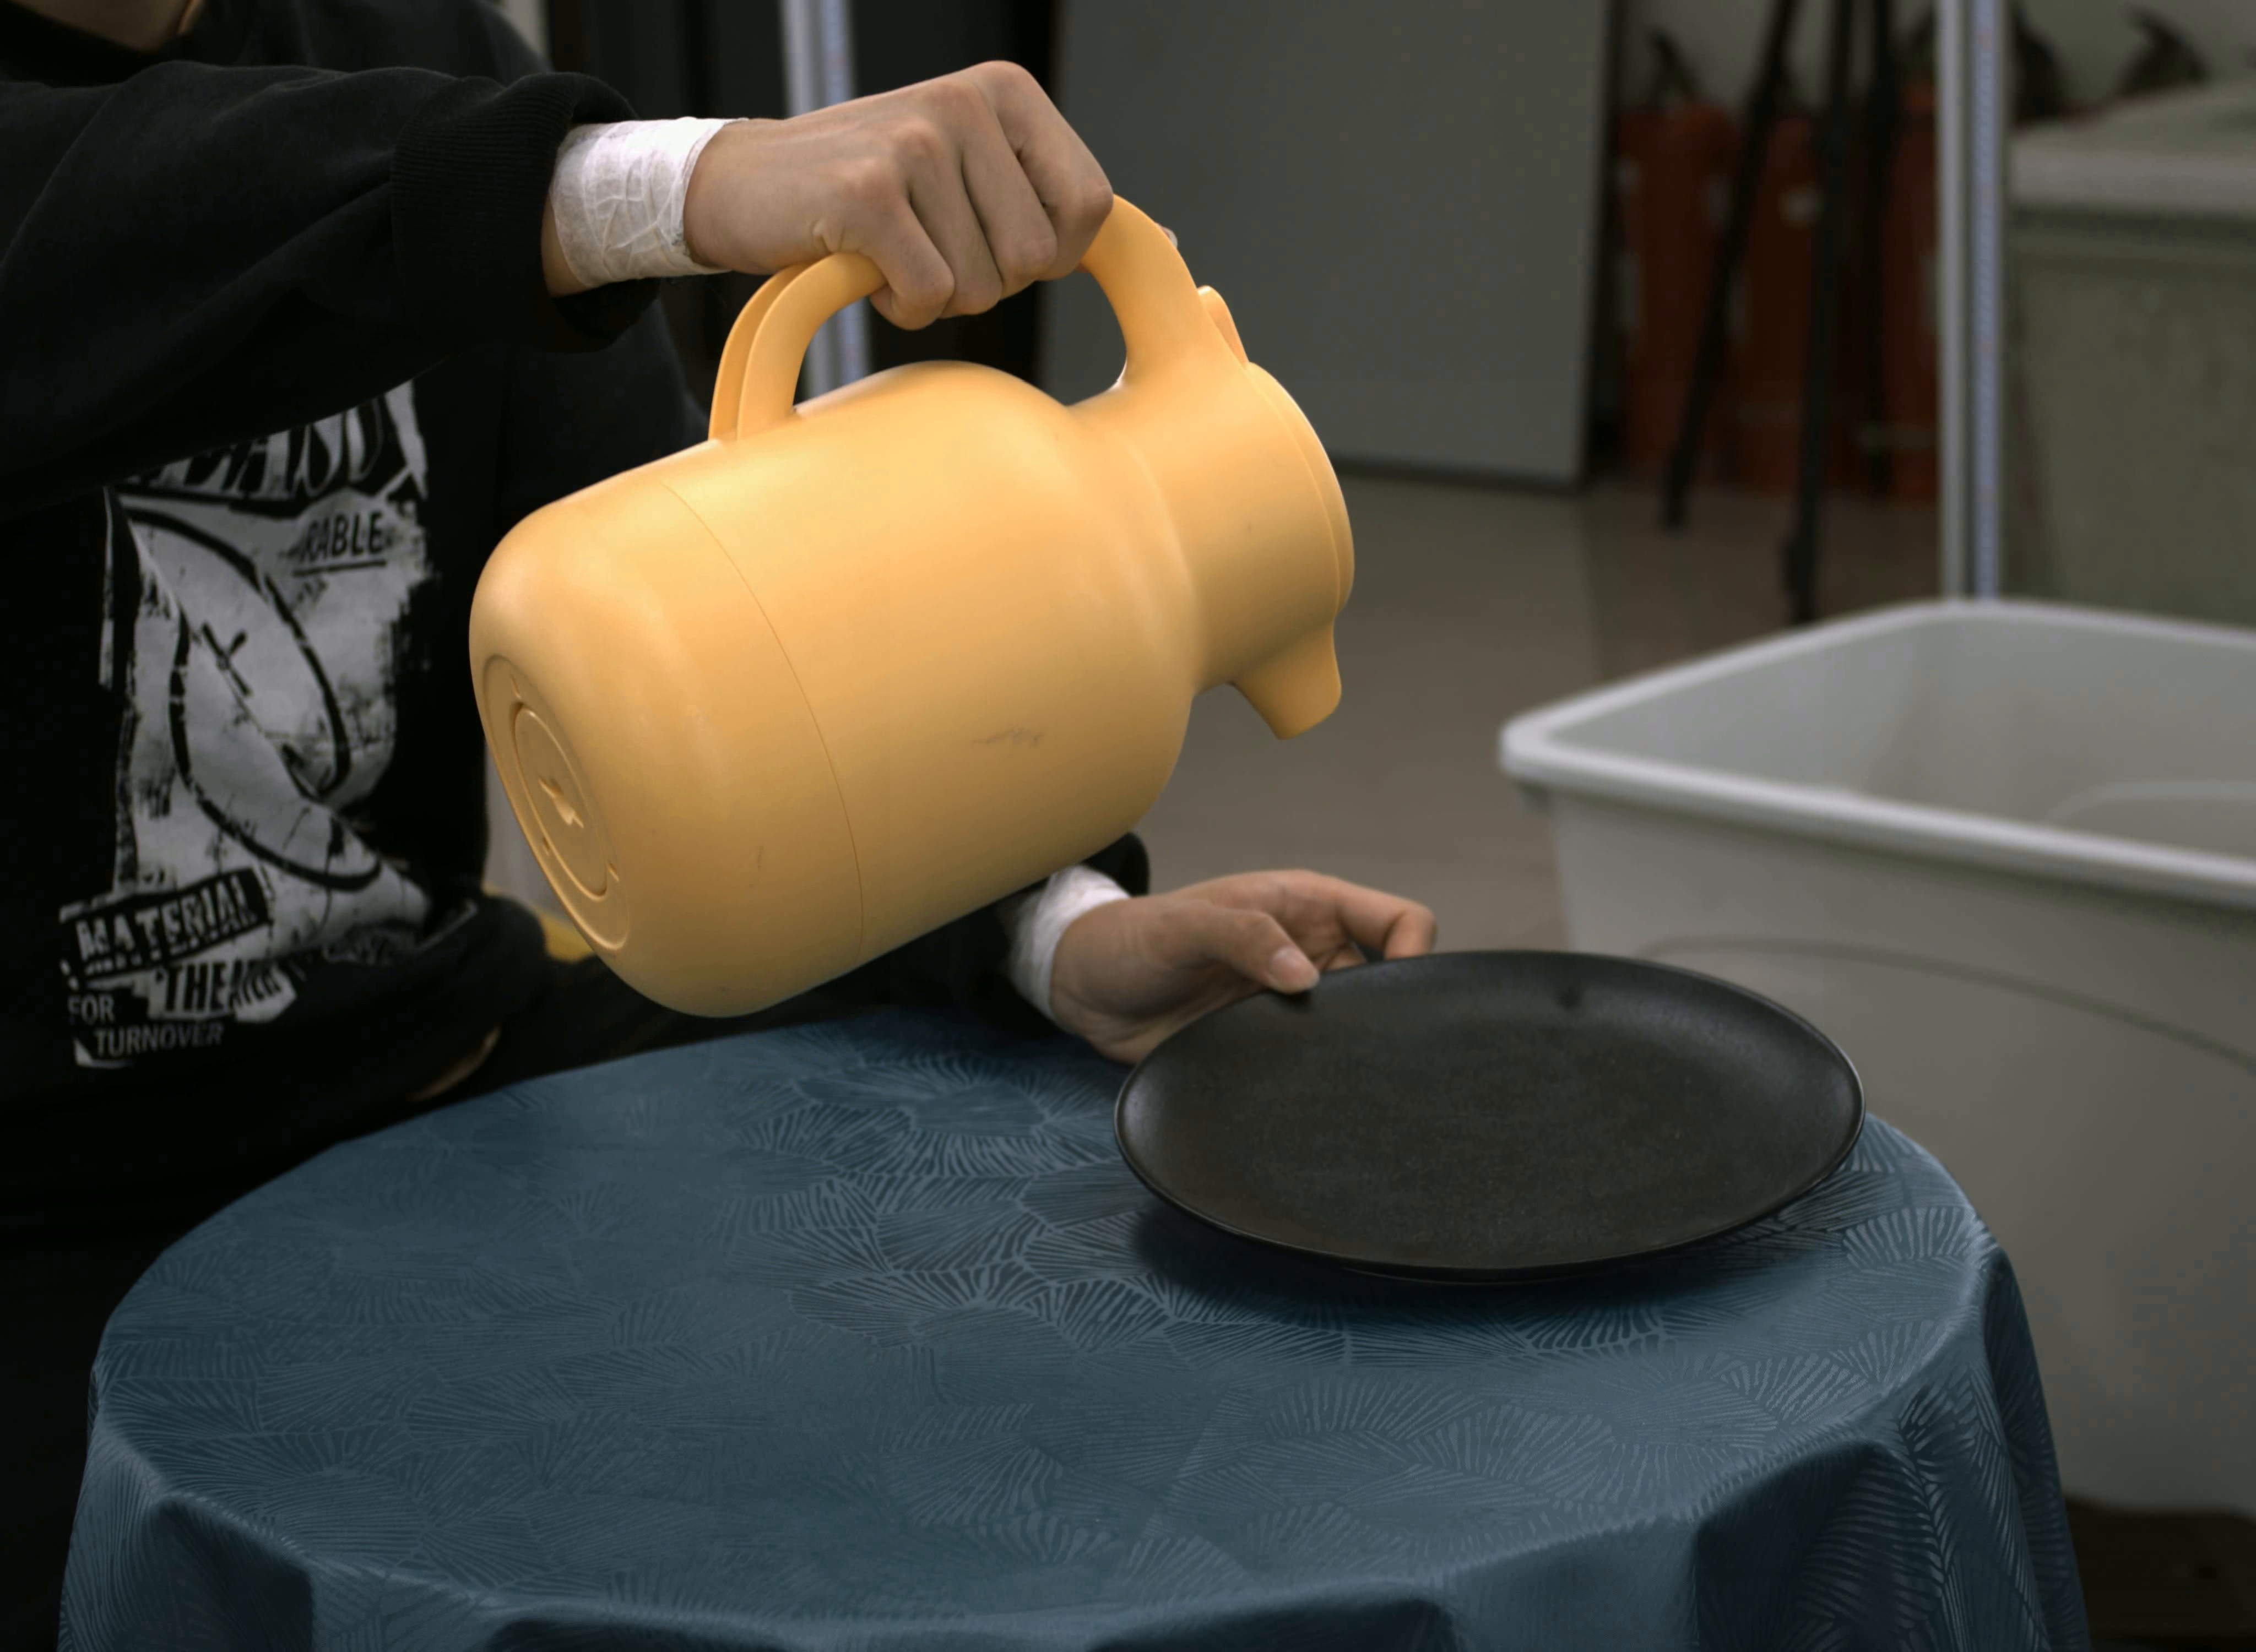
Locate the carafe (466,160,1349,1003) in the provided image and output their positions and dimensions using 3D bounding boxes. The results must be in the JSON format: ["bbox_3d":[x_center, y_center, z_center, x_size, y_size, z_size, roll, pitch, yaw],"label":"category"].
[{"bbox_3d":[-0.067,-0.079,1.618,0.256,0.204,0.165,-23,8,-21],"label":"carafe"}]

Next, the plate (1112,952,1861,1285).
[{"bbox_3d":[0.115,0.097,1.736,0.241,0.023,0.245,-4,21,1],"label":"plate"}]
